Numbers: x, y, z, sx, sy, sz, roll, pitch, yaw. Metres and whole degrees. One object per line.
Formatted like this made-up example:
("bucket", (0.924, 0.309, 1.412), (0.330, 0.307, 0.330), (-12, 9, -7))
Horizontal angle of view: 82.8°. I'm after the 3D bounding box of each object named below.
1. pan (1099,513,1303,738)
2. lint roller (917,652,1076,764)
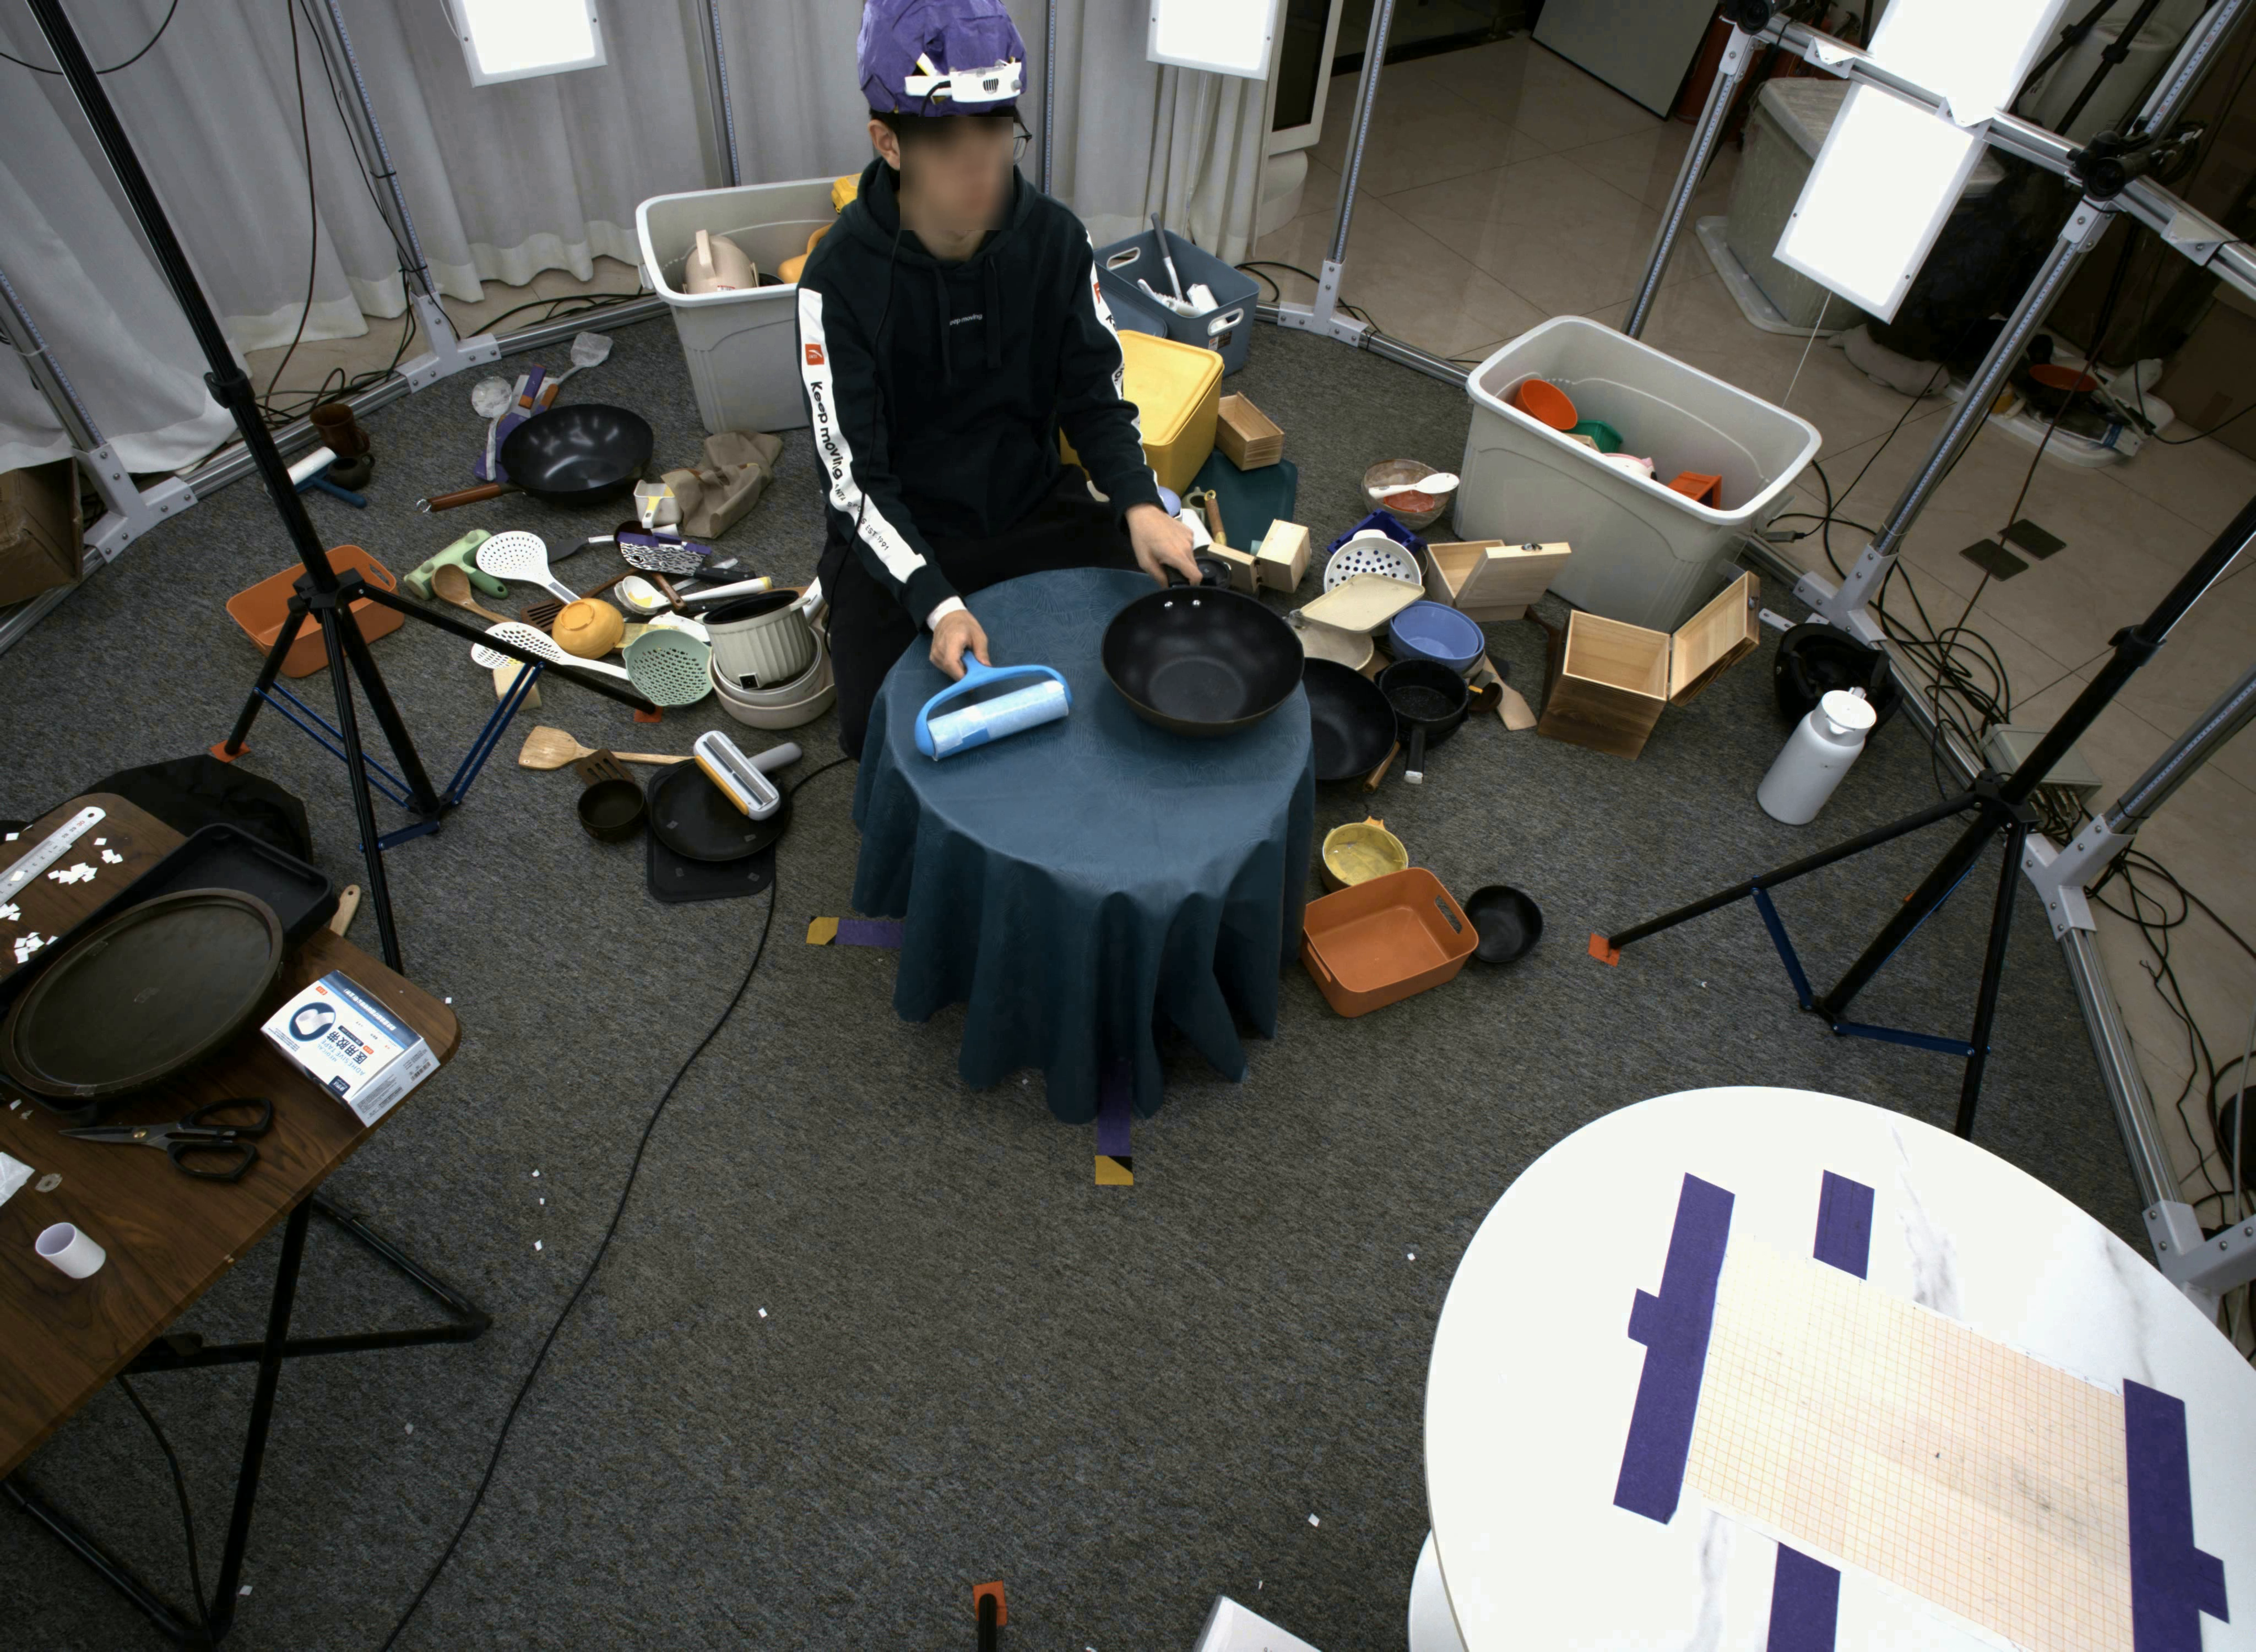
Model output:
("pan", (0.084, -0.287, 1.869), (0.288, 0.085, 0.475), (-5, 49, -9))
("lint roller", (-0.205, -0.188, 1.771), (0.229, 0.066, 0.183), (-24, 62, -19))
